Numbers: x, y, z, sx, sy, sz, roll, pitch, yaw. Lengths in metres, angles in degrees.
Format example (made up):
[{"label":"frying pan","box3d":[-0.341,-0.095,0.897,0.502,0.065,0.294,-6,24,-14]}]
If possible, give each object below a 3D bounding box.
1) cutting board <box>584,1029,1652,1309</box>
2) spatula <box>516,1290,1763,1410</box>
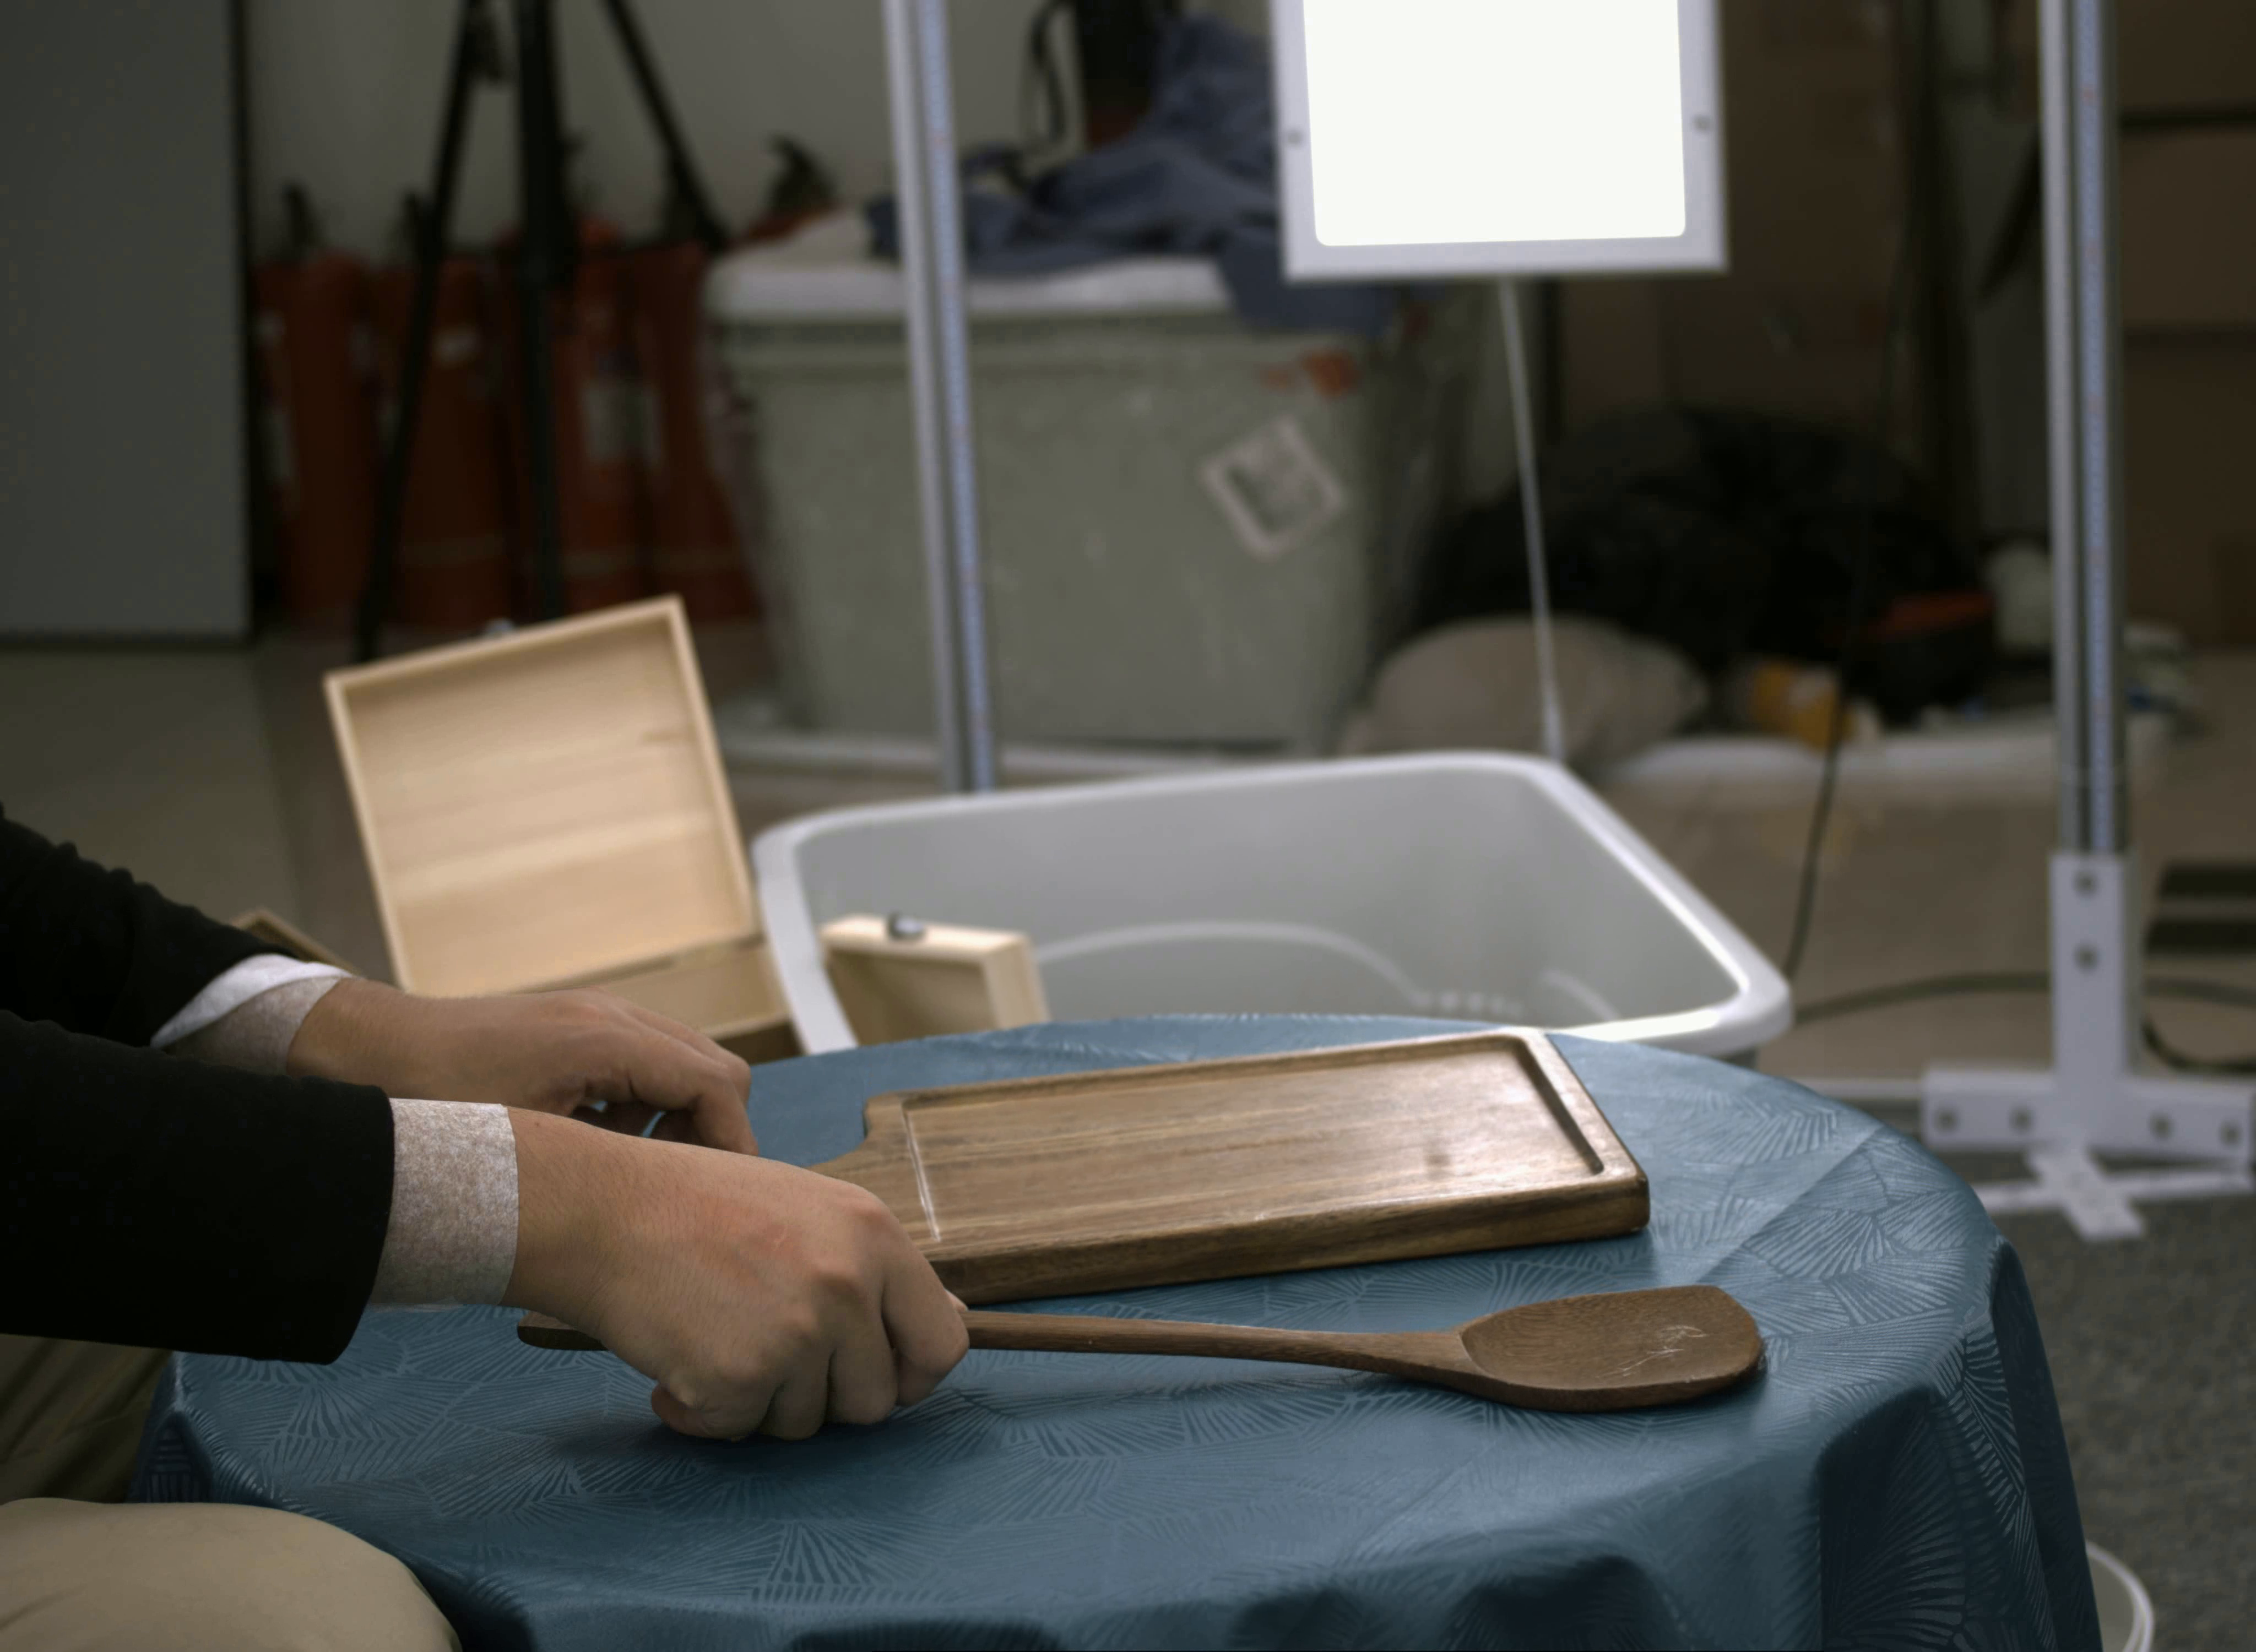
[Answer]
[{"label":"cutting board","box3d":[-0.011,0.120,1.887,0.350,0.023,0.201,-6,14,-4]},{"label":"spatula","box3d":[0.003,0.157,1.697,0.386,0.016,0.095,1,13,5]}]
